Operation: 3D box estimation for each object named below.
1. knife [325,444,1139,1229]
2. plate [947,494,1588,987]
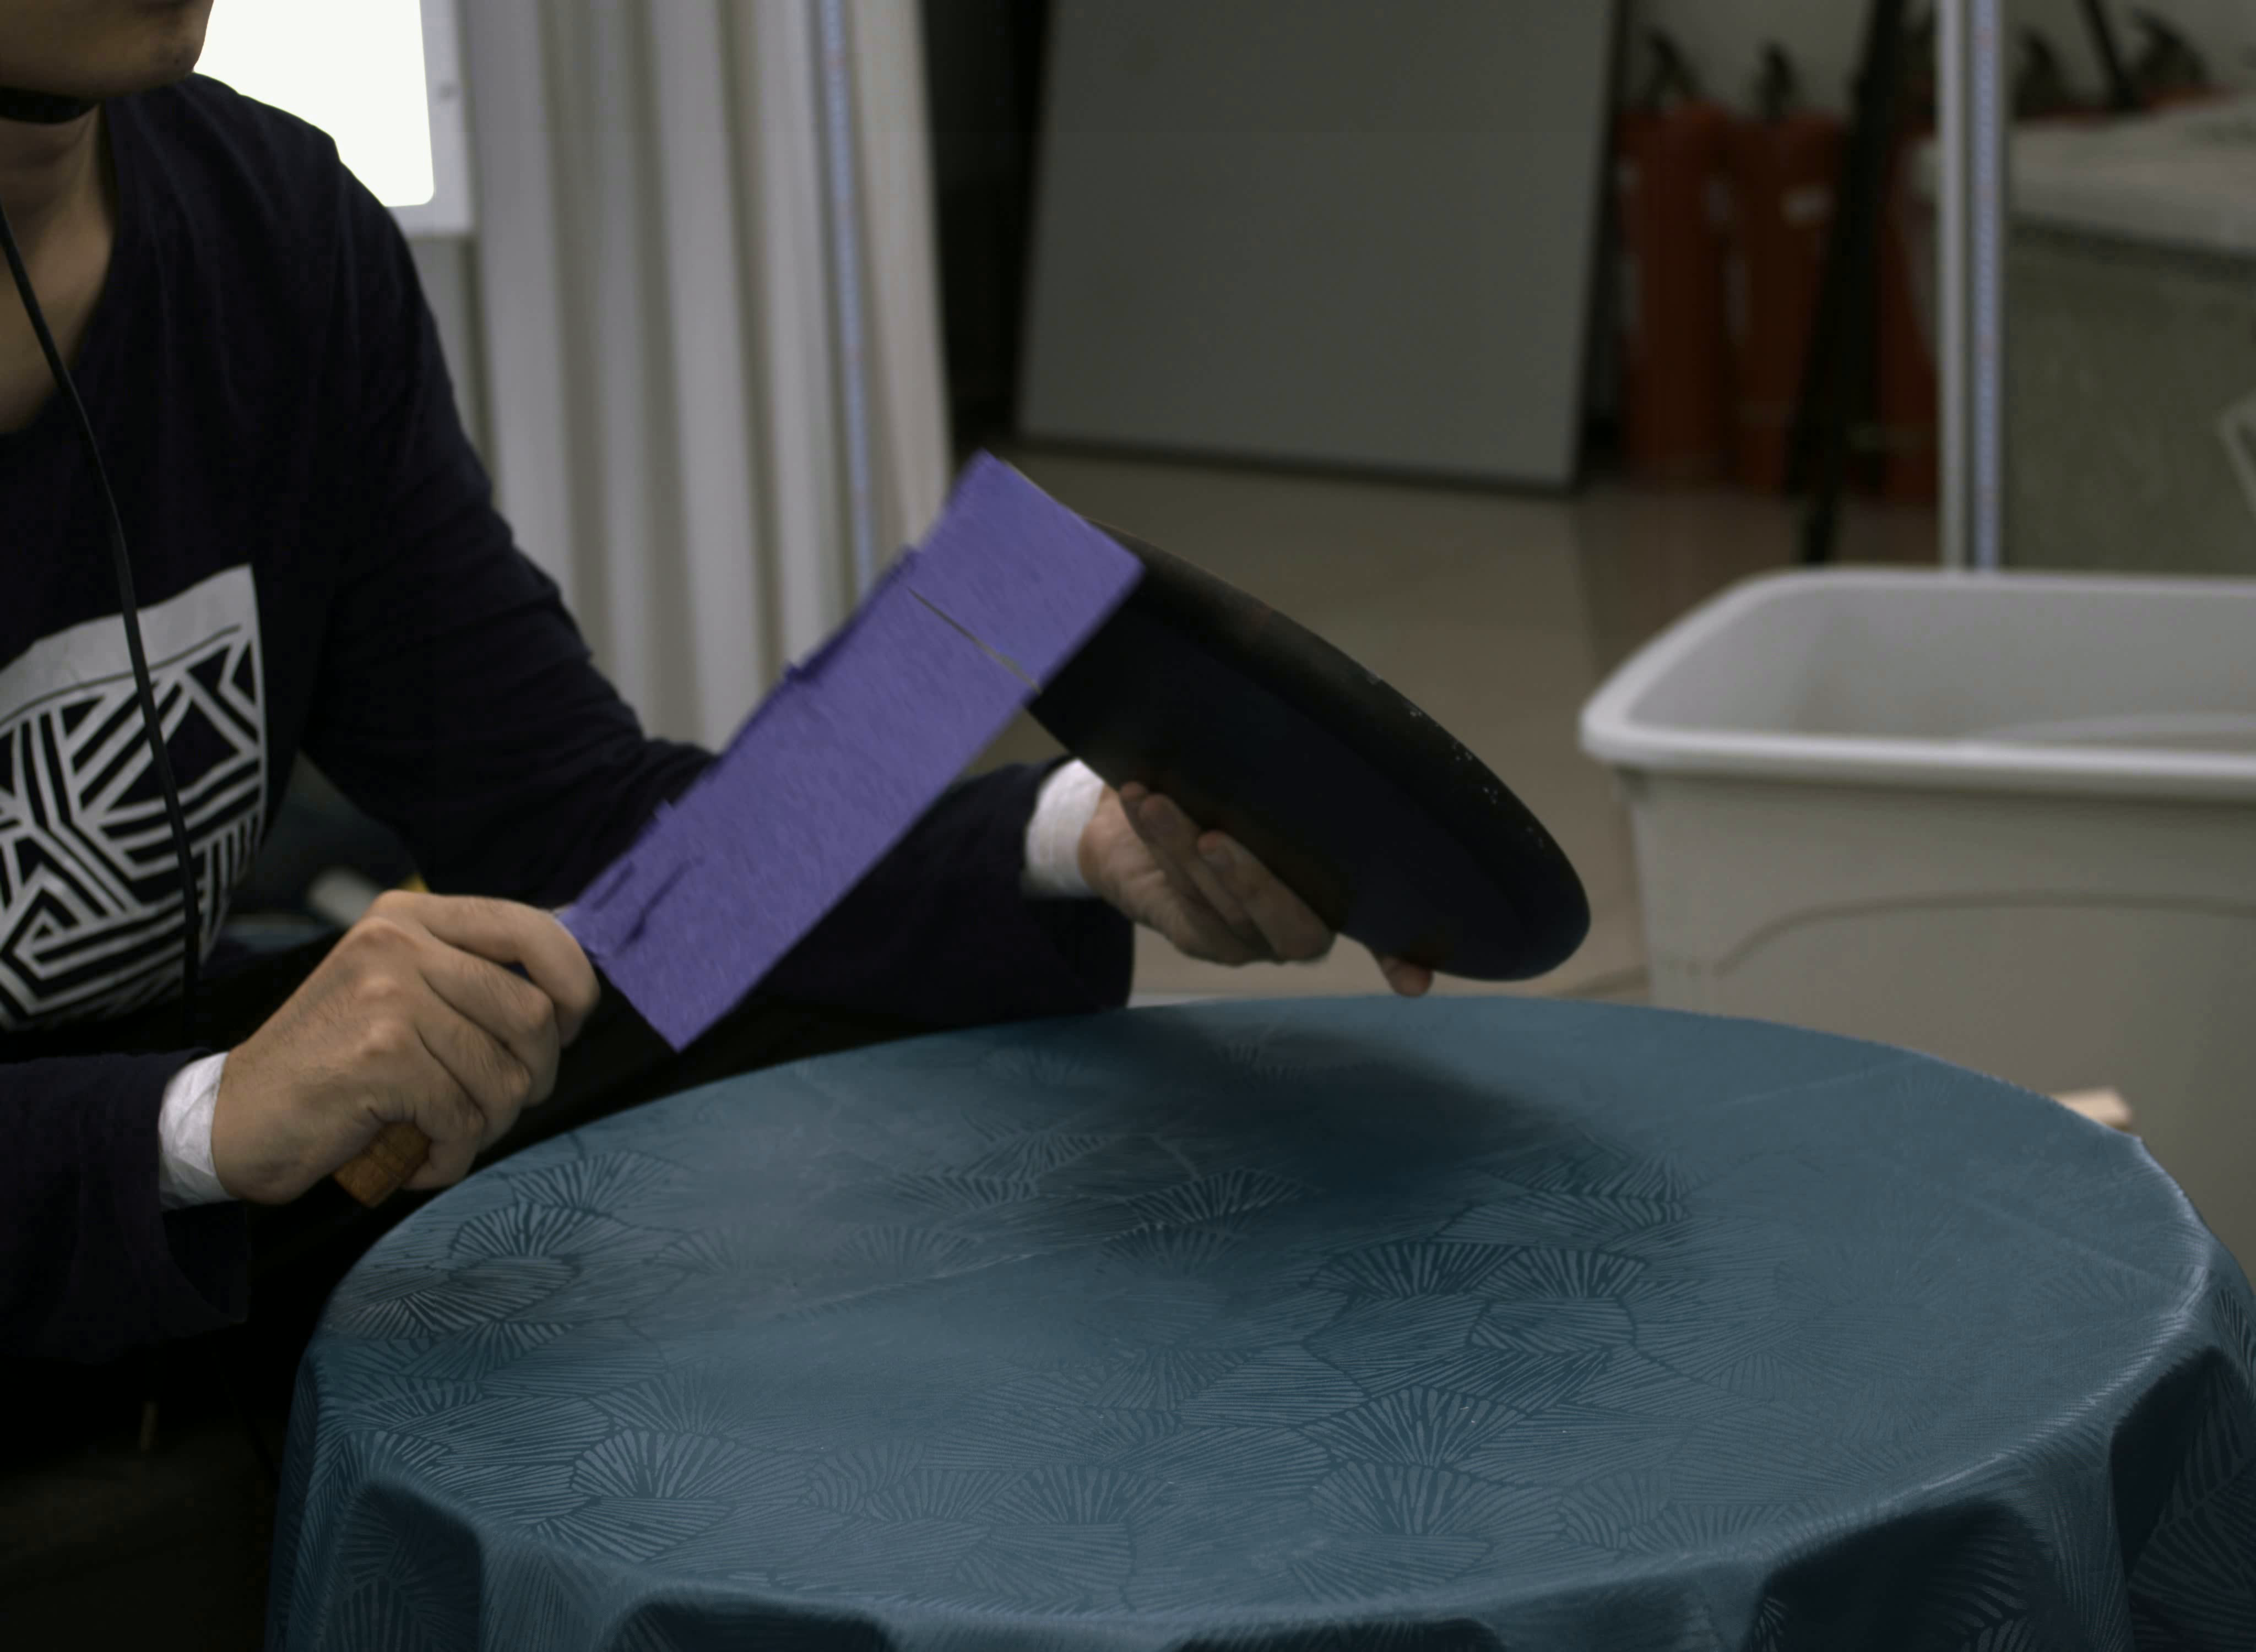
[{"bbox_3d":[-0.122,0.013,1.664,0.315,0.032,0.105,-48,38,0],"label":"knife"},{"bbox_3d":[0.043,-0.025,1.800,0.029,0.252,0.257,-55,33,-13],"label":"plate"}]
